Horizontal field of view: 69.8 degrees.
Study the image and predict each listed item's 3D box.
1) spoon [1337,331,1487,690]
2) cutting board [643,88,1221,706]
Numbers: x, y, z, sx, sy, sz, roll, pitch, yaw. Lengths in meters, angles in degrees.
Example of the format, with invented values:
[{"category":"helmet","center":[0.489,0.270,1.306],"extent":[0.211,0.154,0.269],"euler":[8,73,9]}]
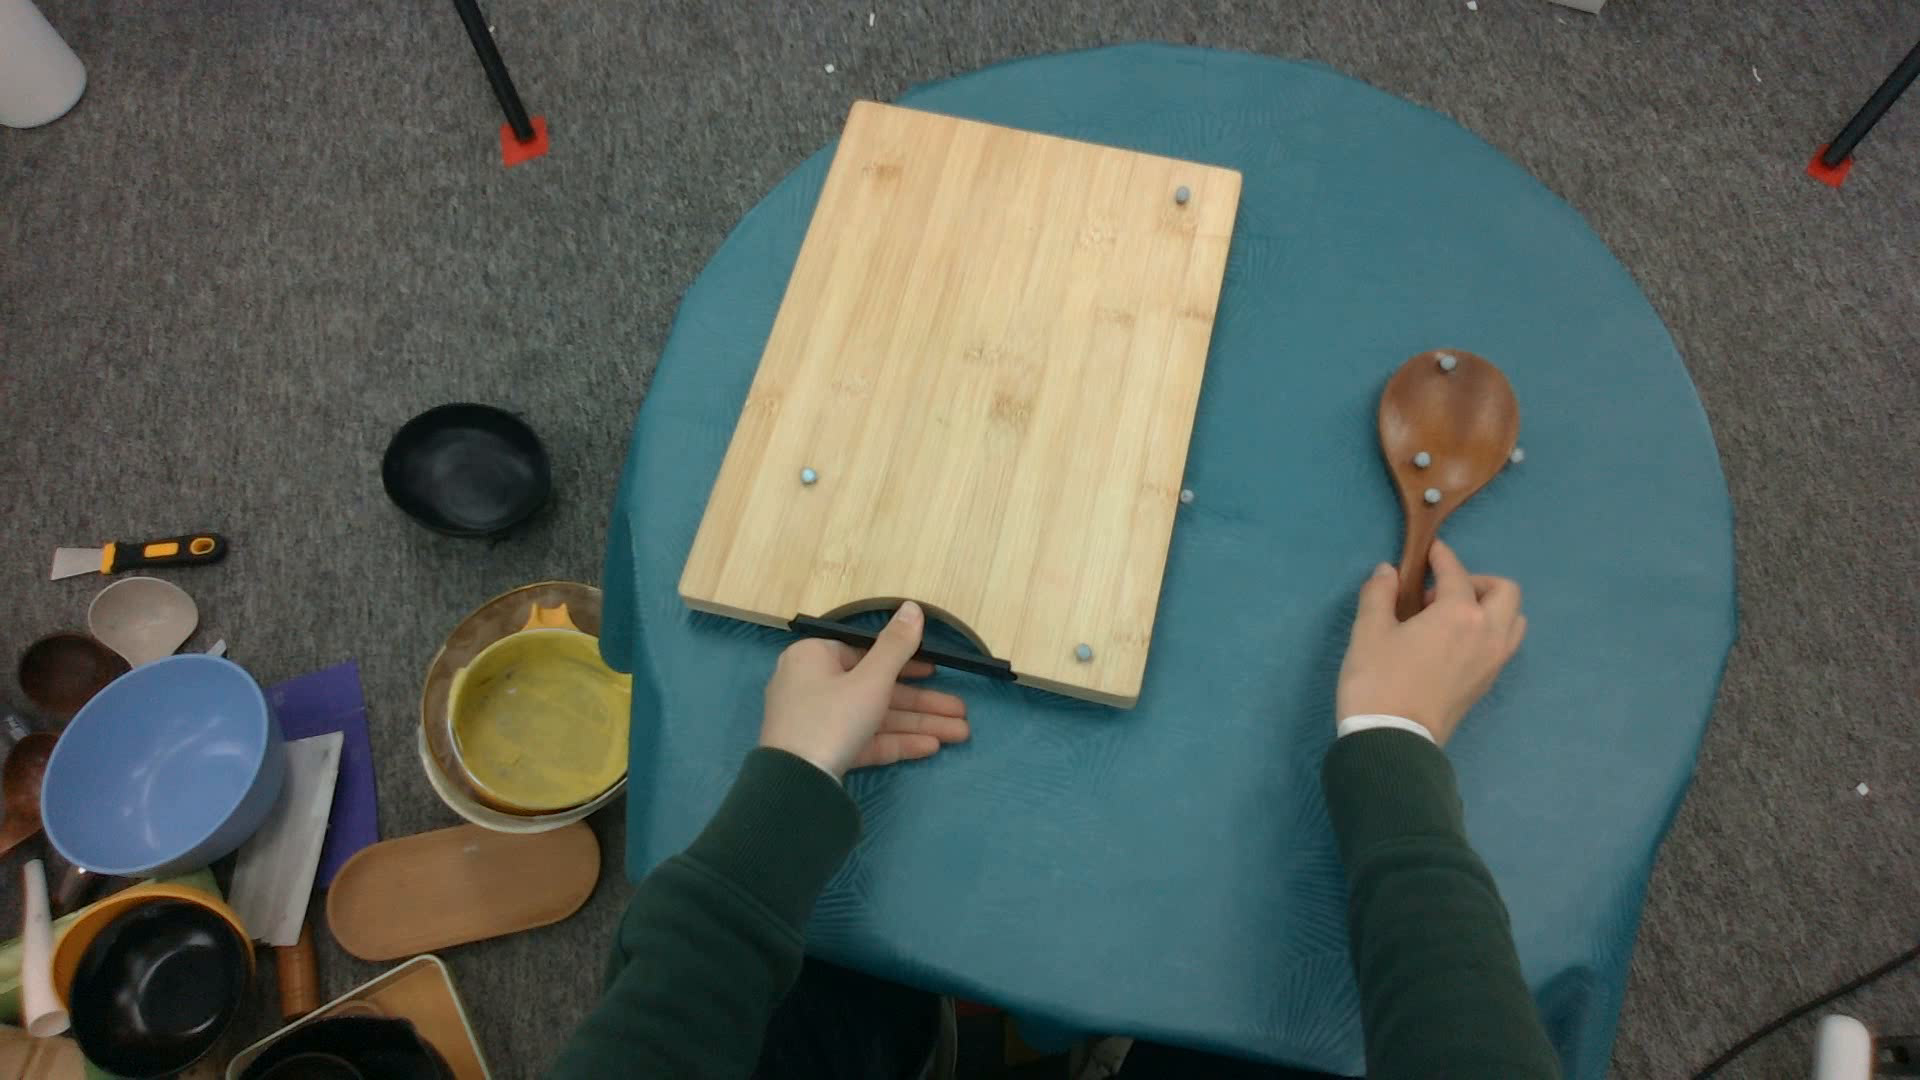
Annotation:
[{"category":"spoon","center":[0.233,-0.020,0.736],"extent":[0.075,0.017,0.216],"euler":[17,67,5]},{"category":"cutting board","center":[-0.002,-0.096,0.763],"extent":[0.250,0.023,0.350],"euler":[11,65,5]}]
